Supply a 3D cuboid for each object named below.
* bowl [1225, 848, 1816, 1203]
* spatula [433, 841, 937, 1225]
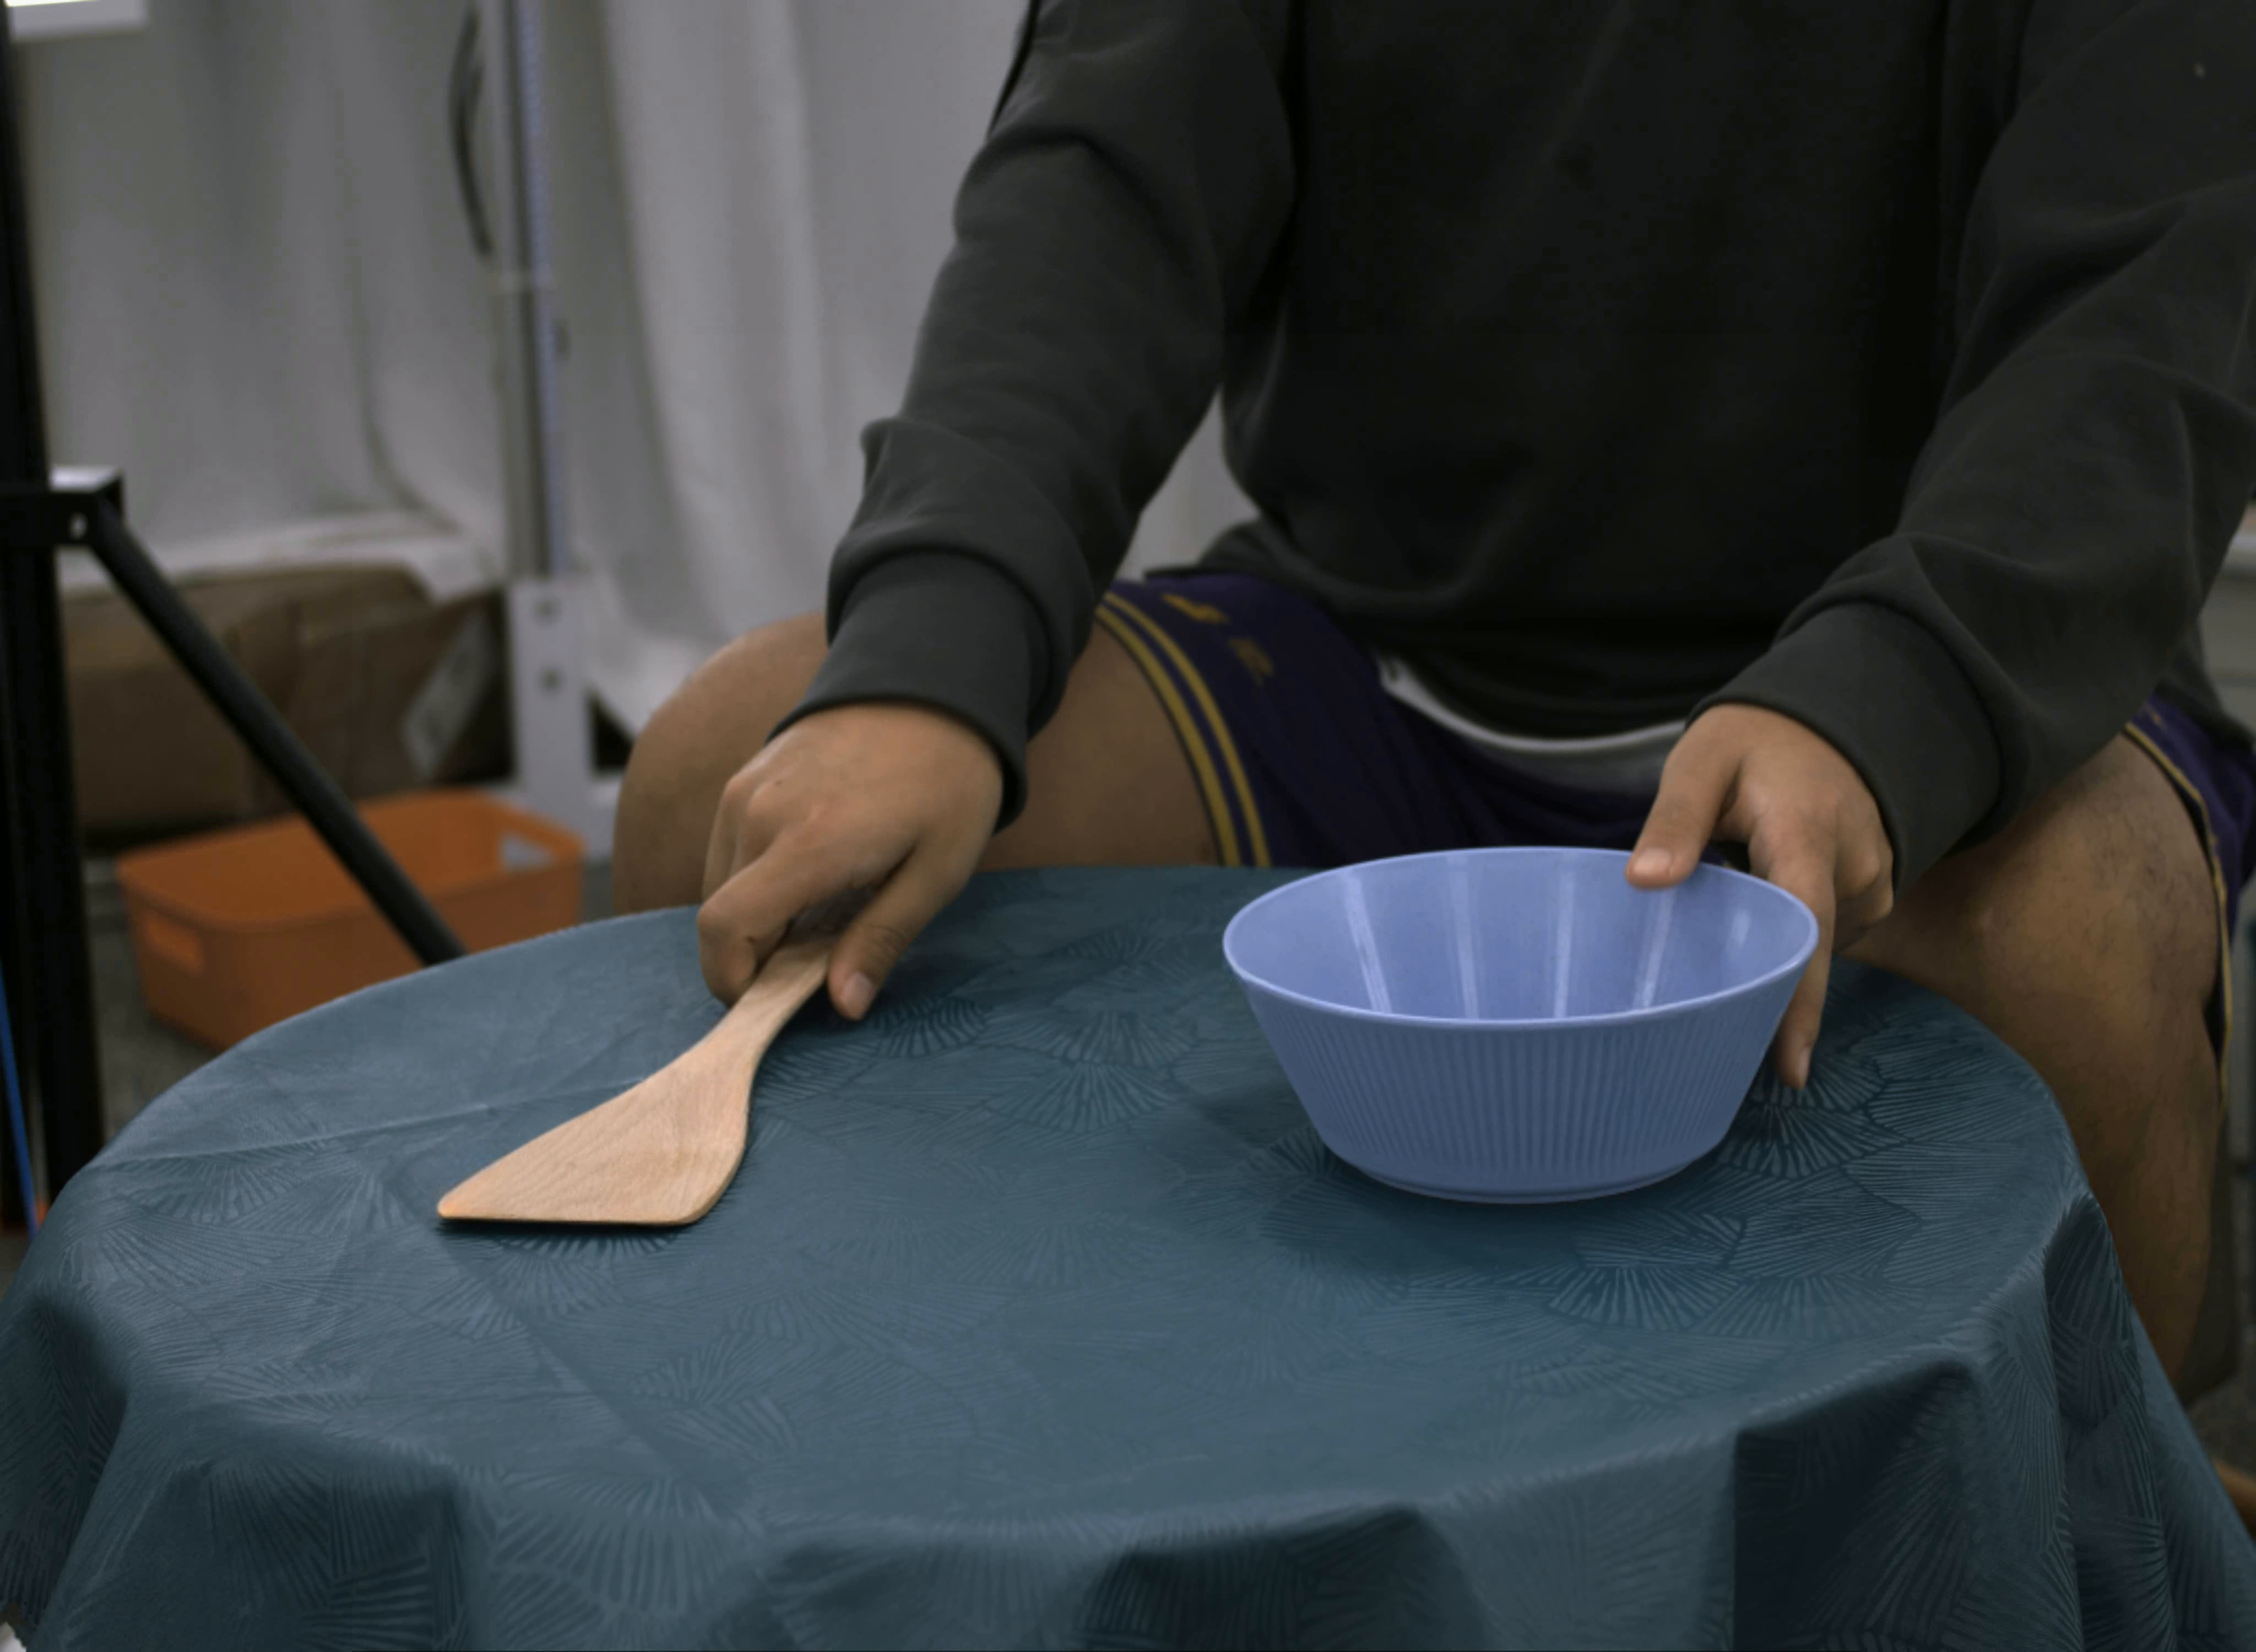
[{"bbox_3d":[0.117,0.062,1.576,0.175,0.070,0.177,-3,16,-1],"label":"bowl"},{"bbox_3d":[-0.121,0.062,1.687,0.081,0.016,0.325,3,22,17],"label":"spatula"}]
